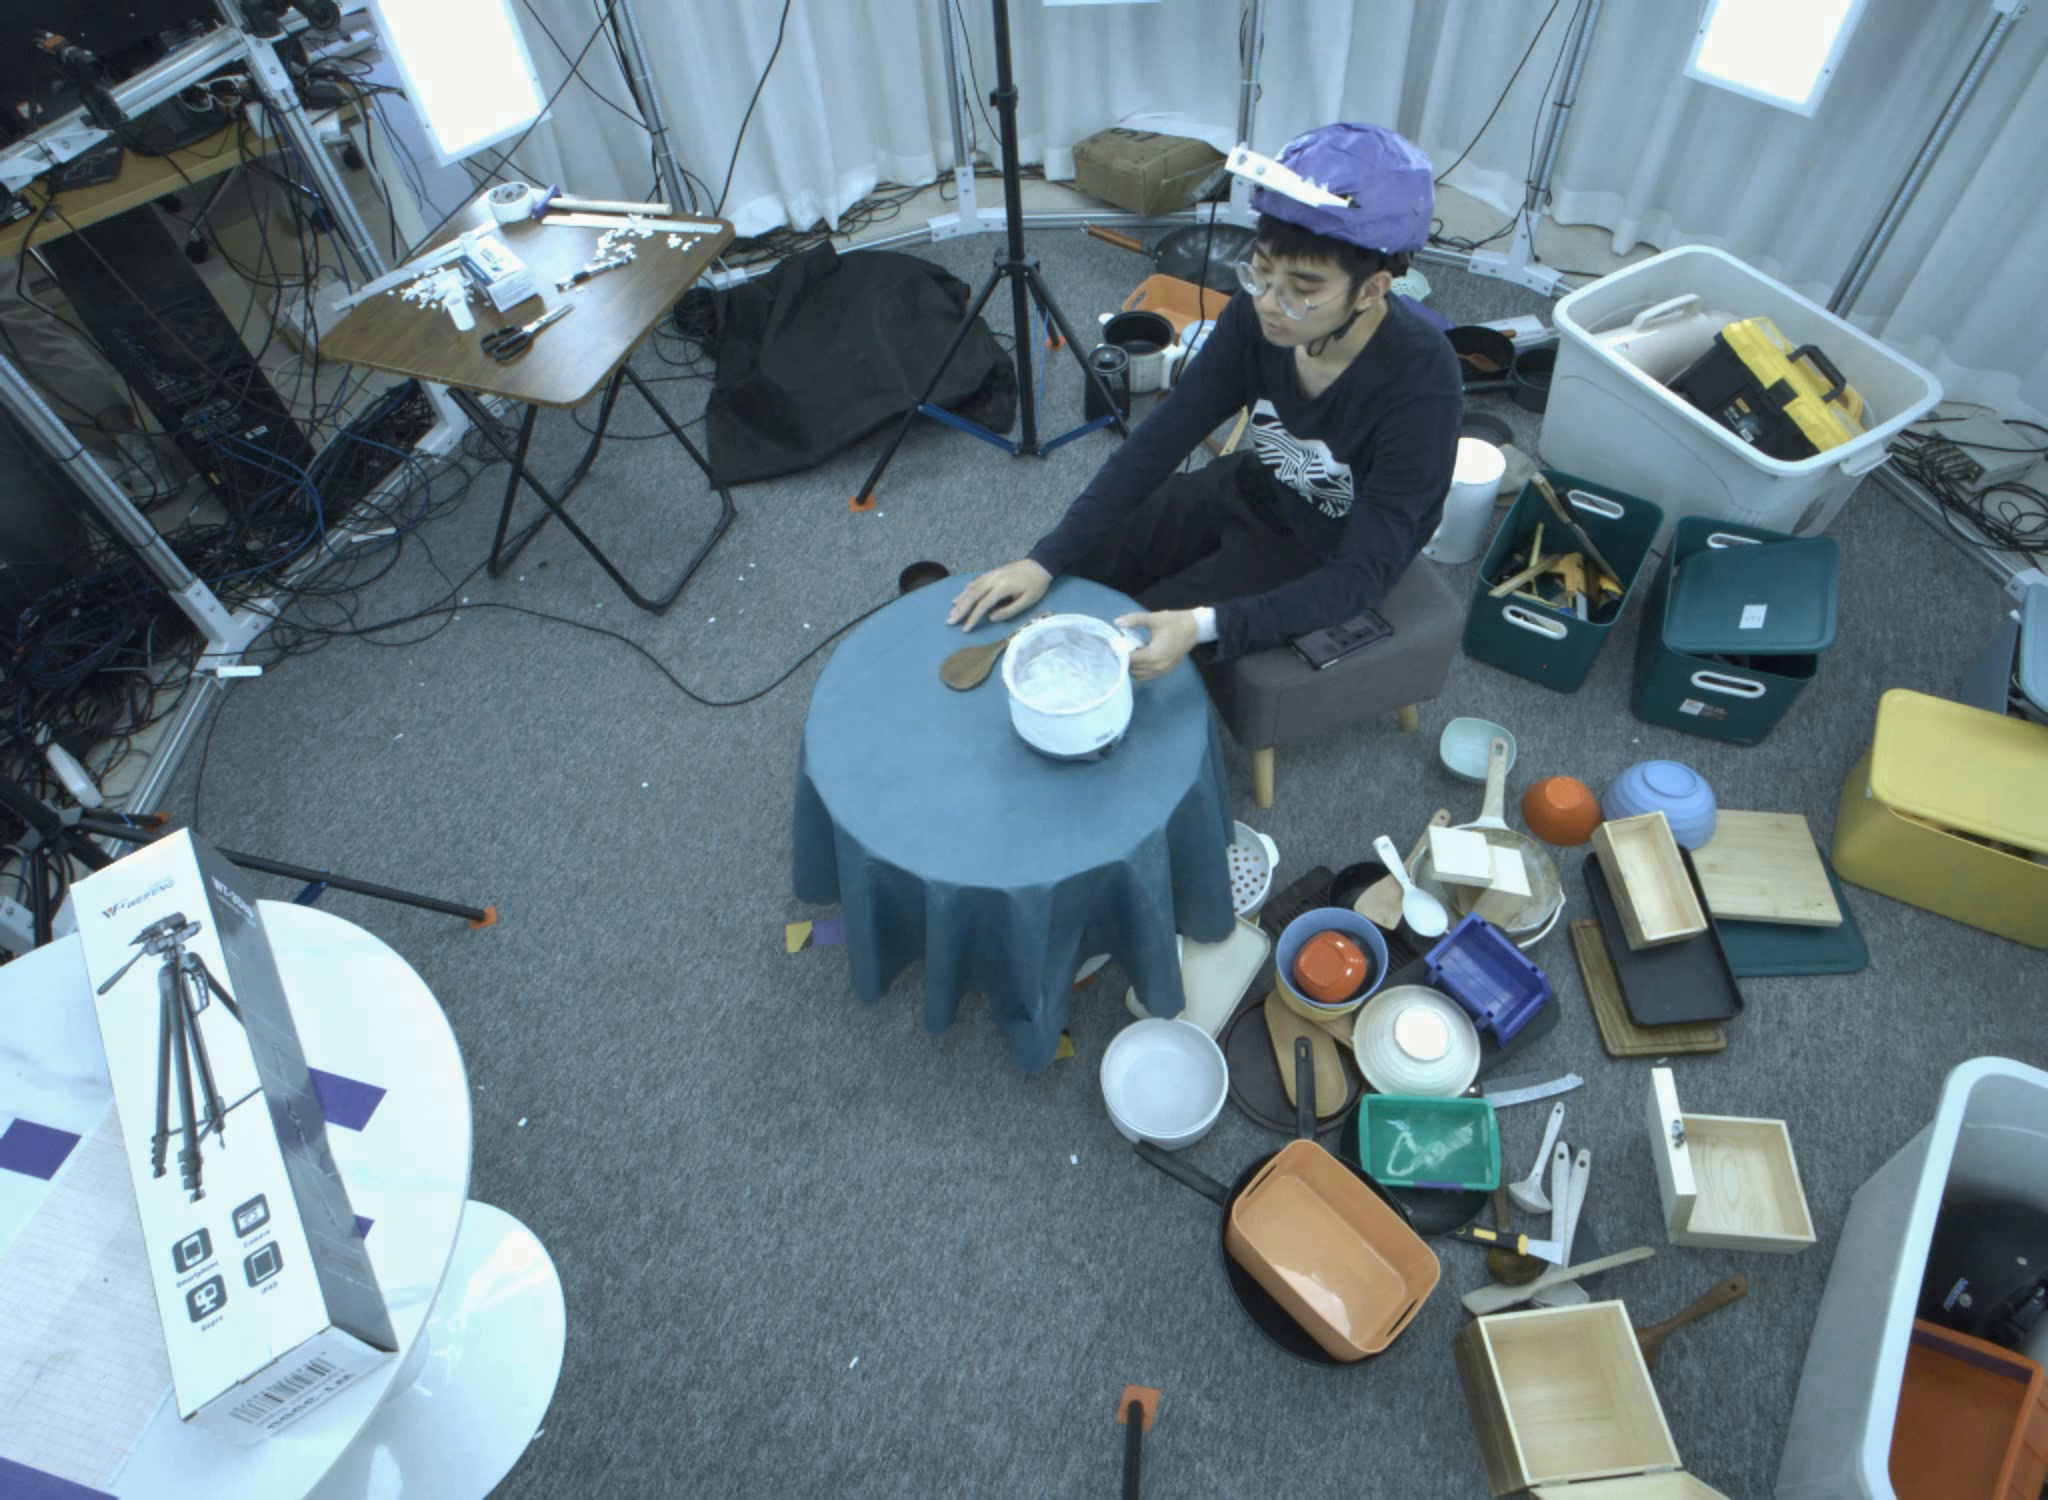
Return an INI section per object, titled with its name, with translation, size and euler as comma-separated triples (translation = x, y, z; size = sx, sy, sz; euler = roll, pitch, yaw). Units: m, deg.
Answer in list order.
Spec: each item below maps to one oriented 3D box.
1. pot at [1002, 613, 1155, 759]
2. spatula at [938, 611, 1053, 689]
[pot]
translation = 0.087, -0.101, 1.773
size = 0.235, 0.138, 0.175
euler = -33, 62, -15
[spatula]
translation = -0.038, -0.159, 1.907
size = 0.217, 0.009, 0.070
euler = -33, 62, -22
